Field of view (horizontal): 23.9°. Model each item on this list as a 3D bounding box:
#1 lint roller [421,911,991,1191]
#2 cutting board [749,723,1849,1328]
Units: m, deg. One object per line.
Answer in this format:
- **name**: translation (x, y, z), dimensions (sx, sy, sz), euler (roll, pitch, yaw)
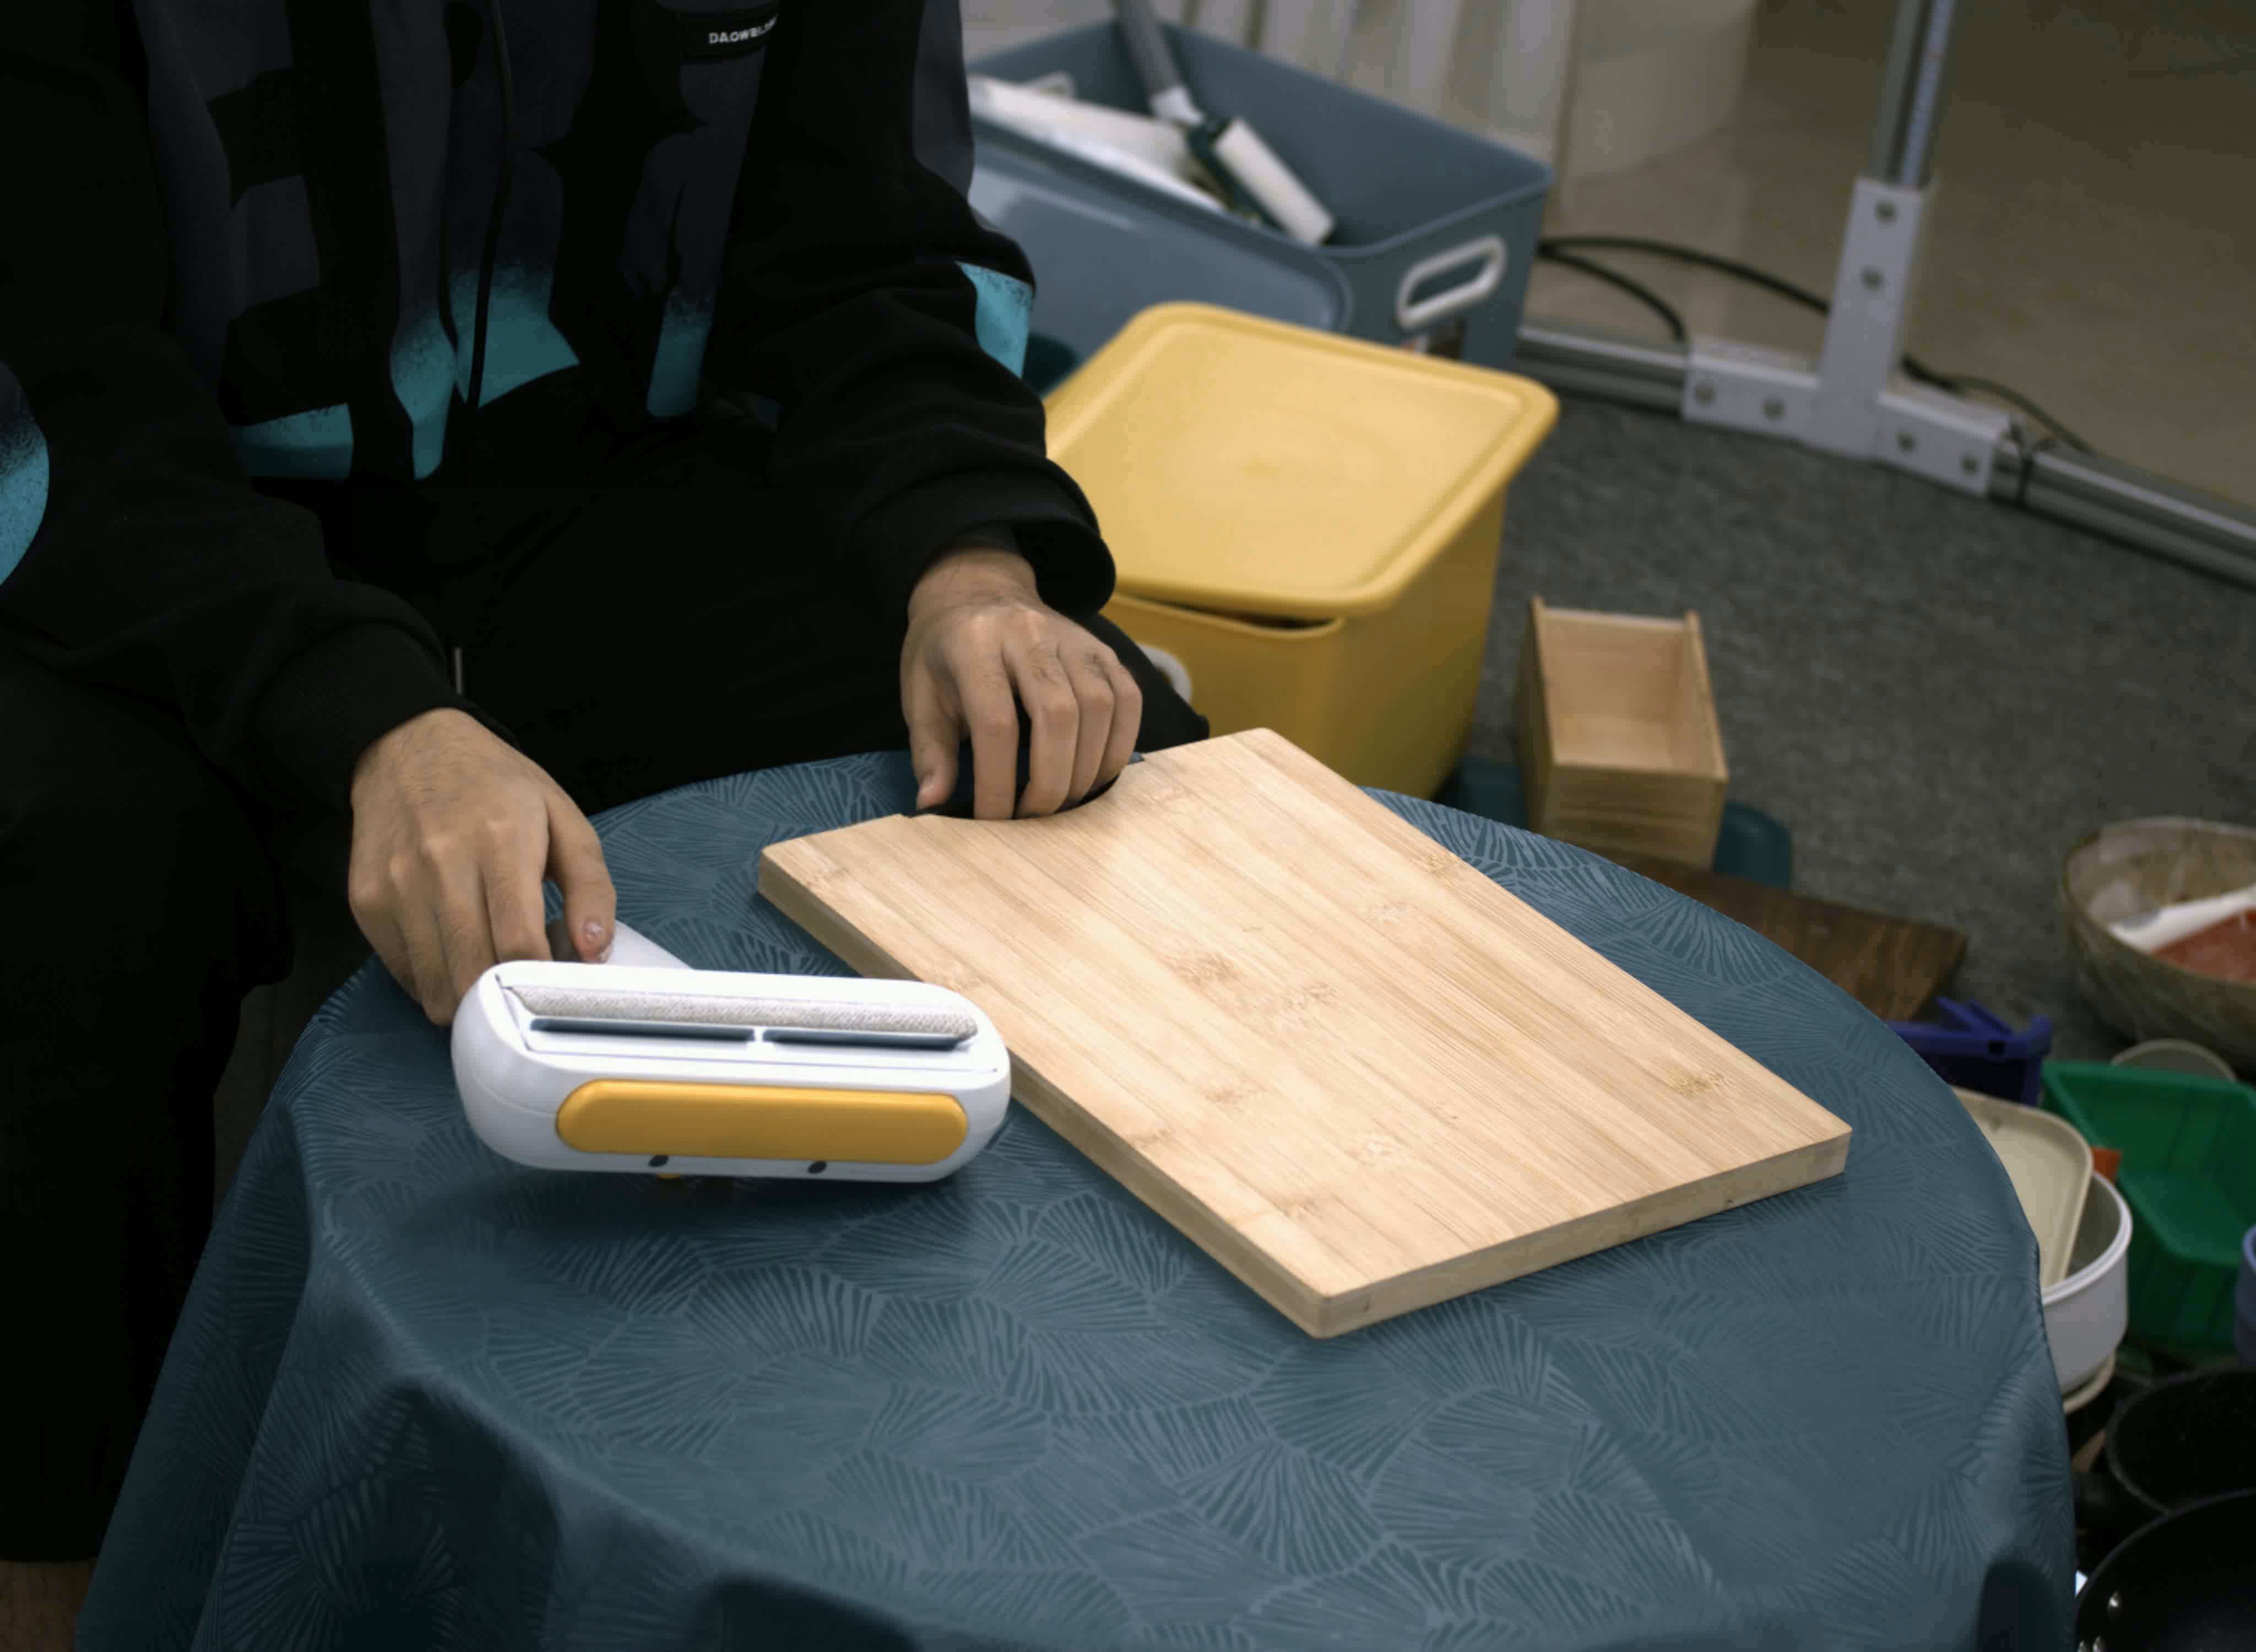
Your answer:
- **lint roller**: translation (-0.158, 0.063, 1.809), dimensions (0.191, 0.074, 0.194), euler (1, 25, -22)
- **cutting board**: translation (0.055, 0.064, 1.912), dimensions (0.249, 0.023, 0.352), euler (-14, 33, -35)
